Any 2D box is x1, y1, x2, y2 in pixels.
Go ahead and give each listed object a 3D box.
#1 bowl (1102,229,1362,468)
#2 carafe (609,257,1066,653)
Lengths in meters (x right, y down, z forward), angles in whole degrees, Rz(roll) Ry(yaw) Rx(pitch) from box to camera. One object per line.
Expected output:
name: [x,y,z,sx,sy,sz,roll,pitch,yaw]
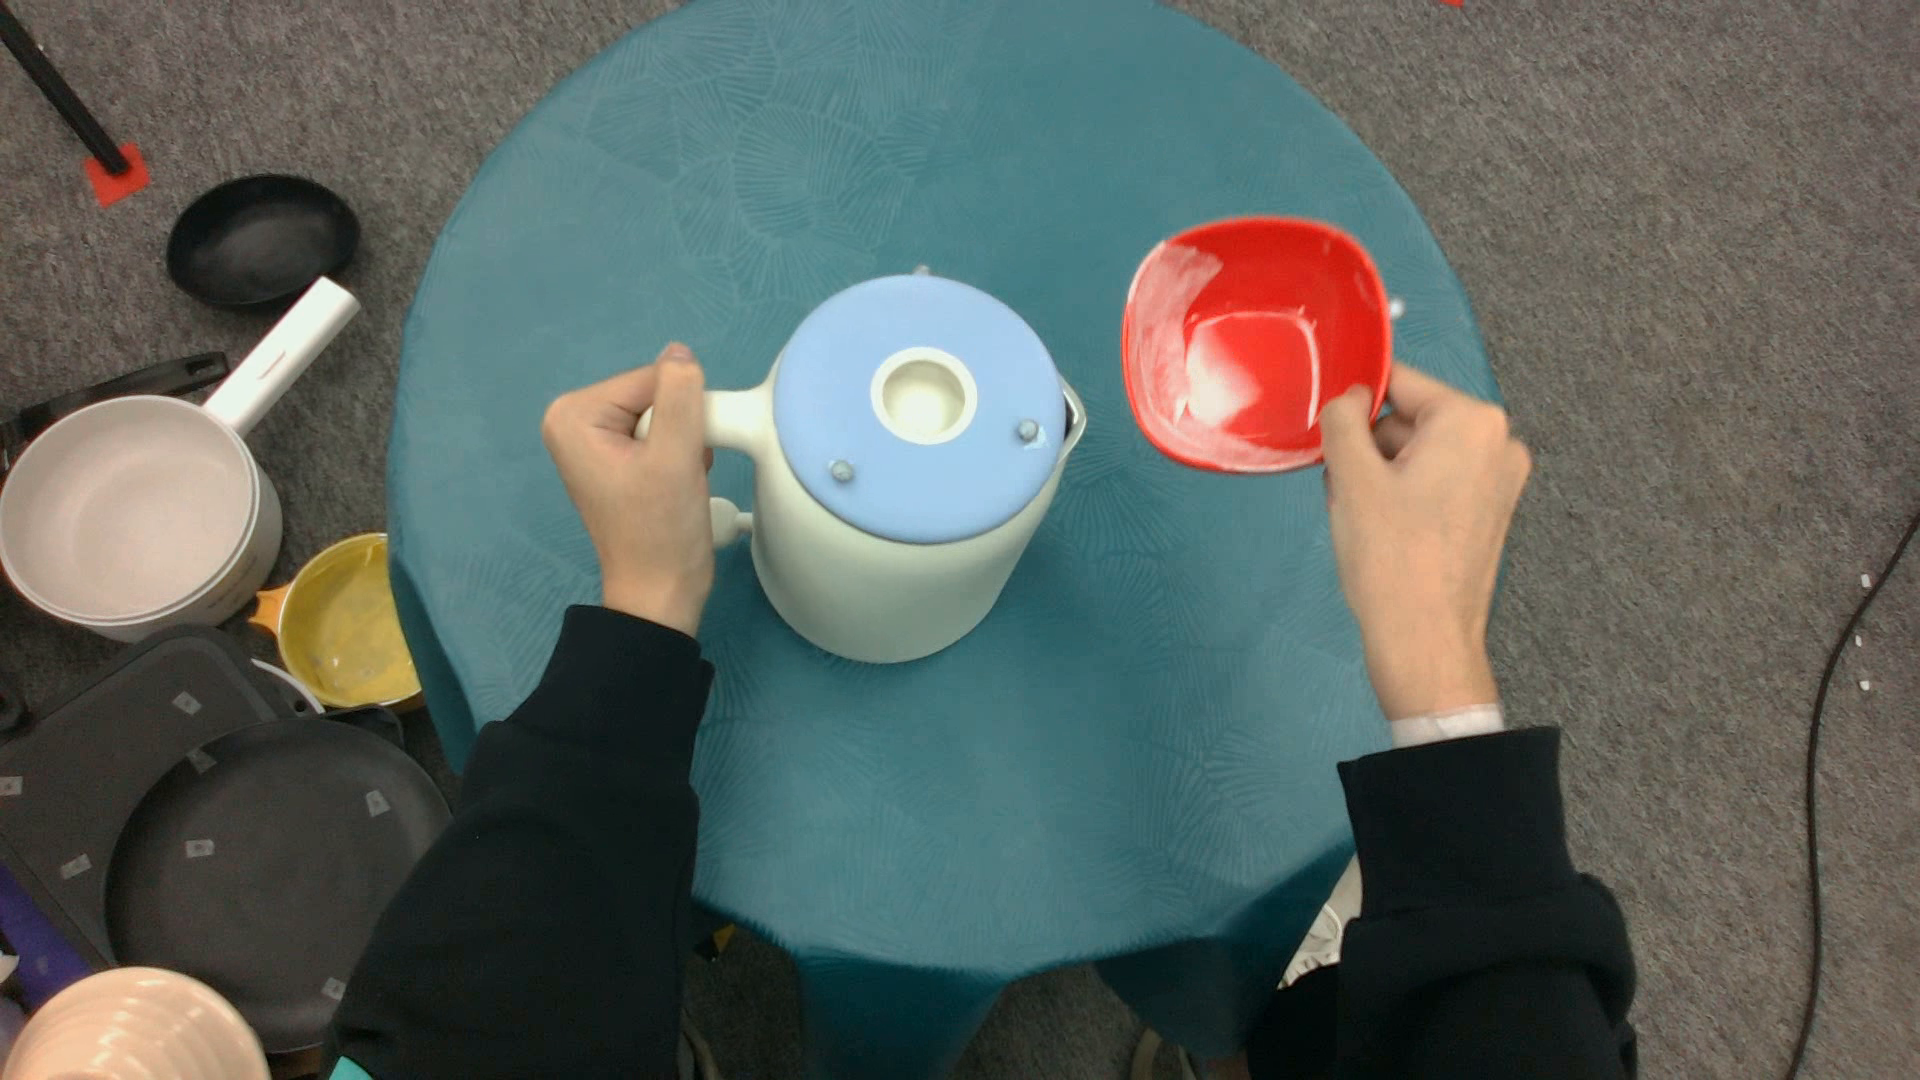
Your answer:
bowl: [0.117,-0.077,0.611,0.119,0.051,0.119,-1,72,2]
carafe: [-0.061,-0.032,0.620,0.191,0.182,0.132,0,69,-8]
